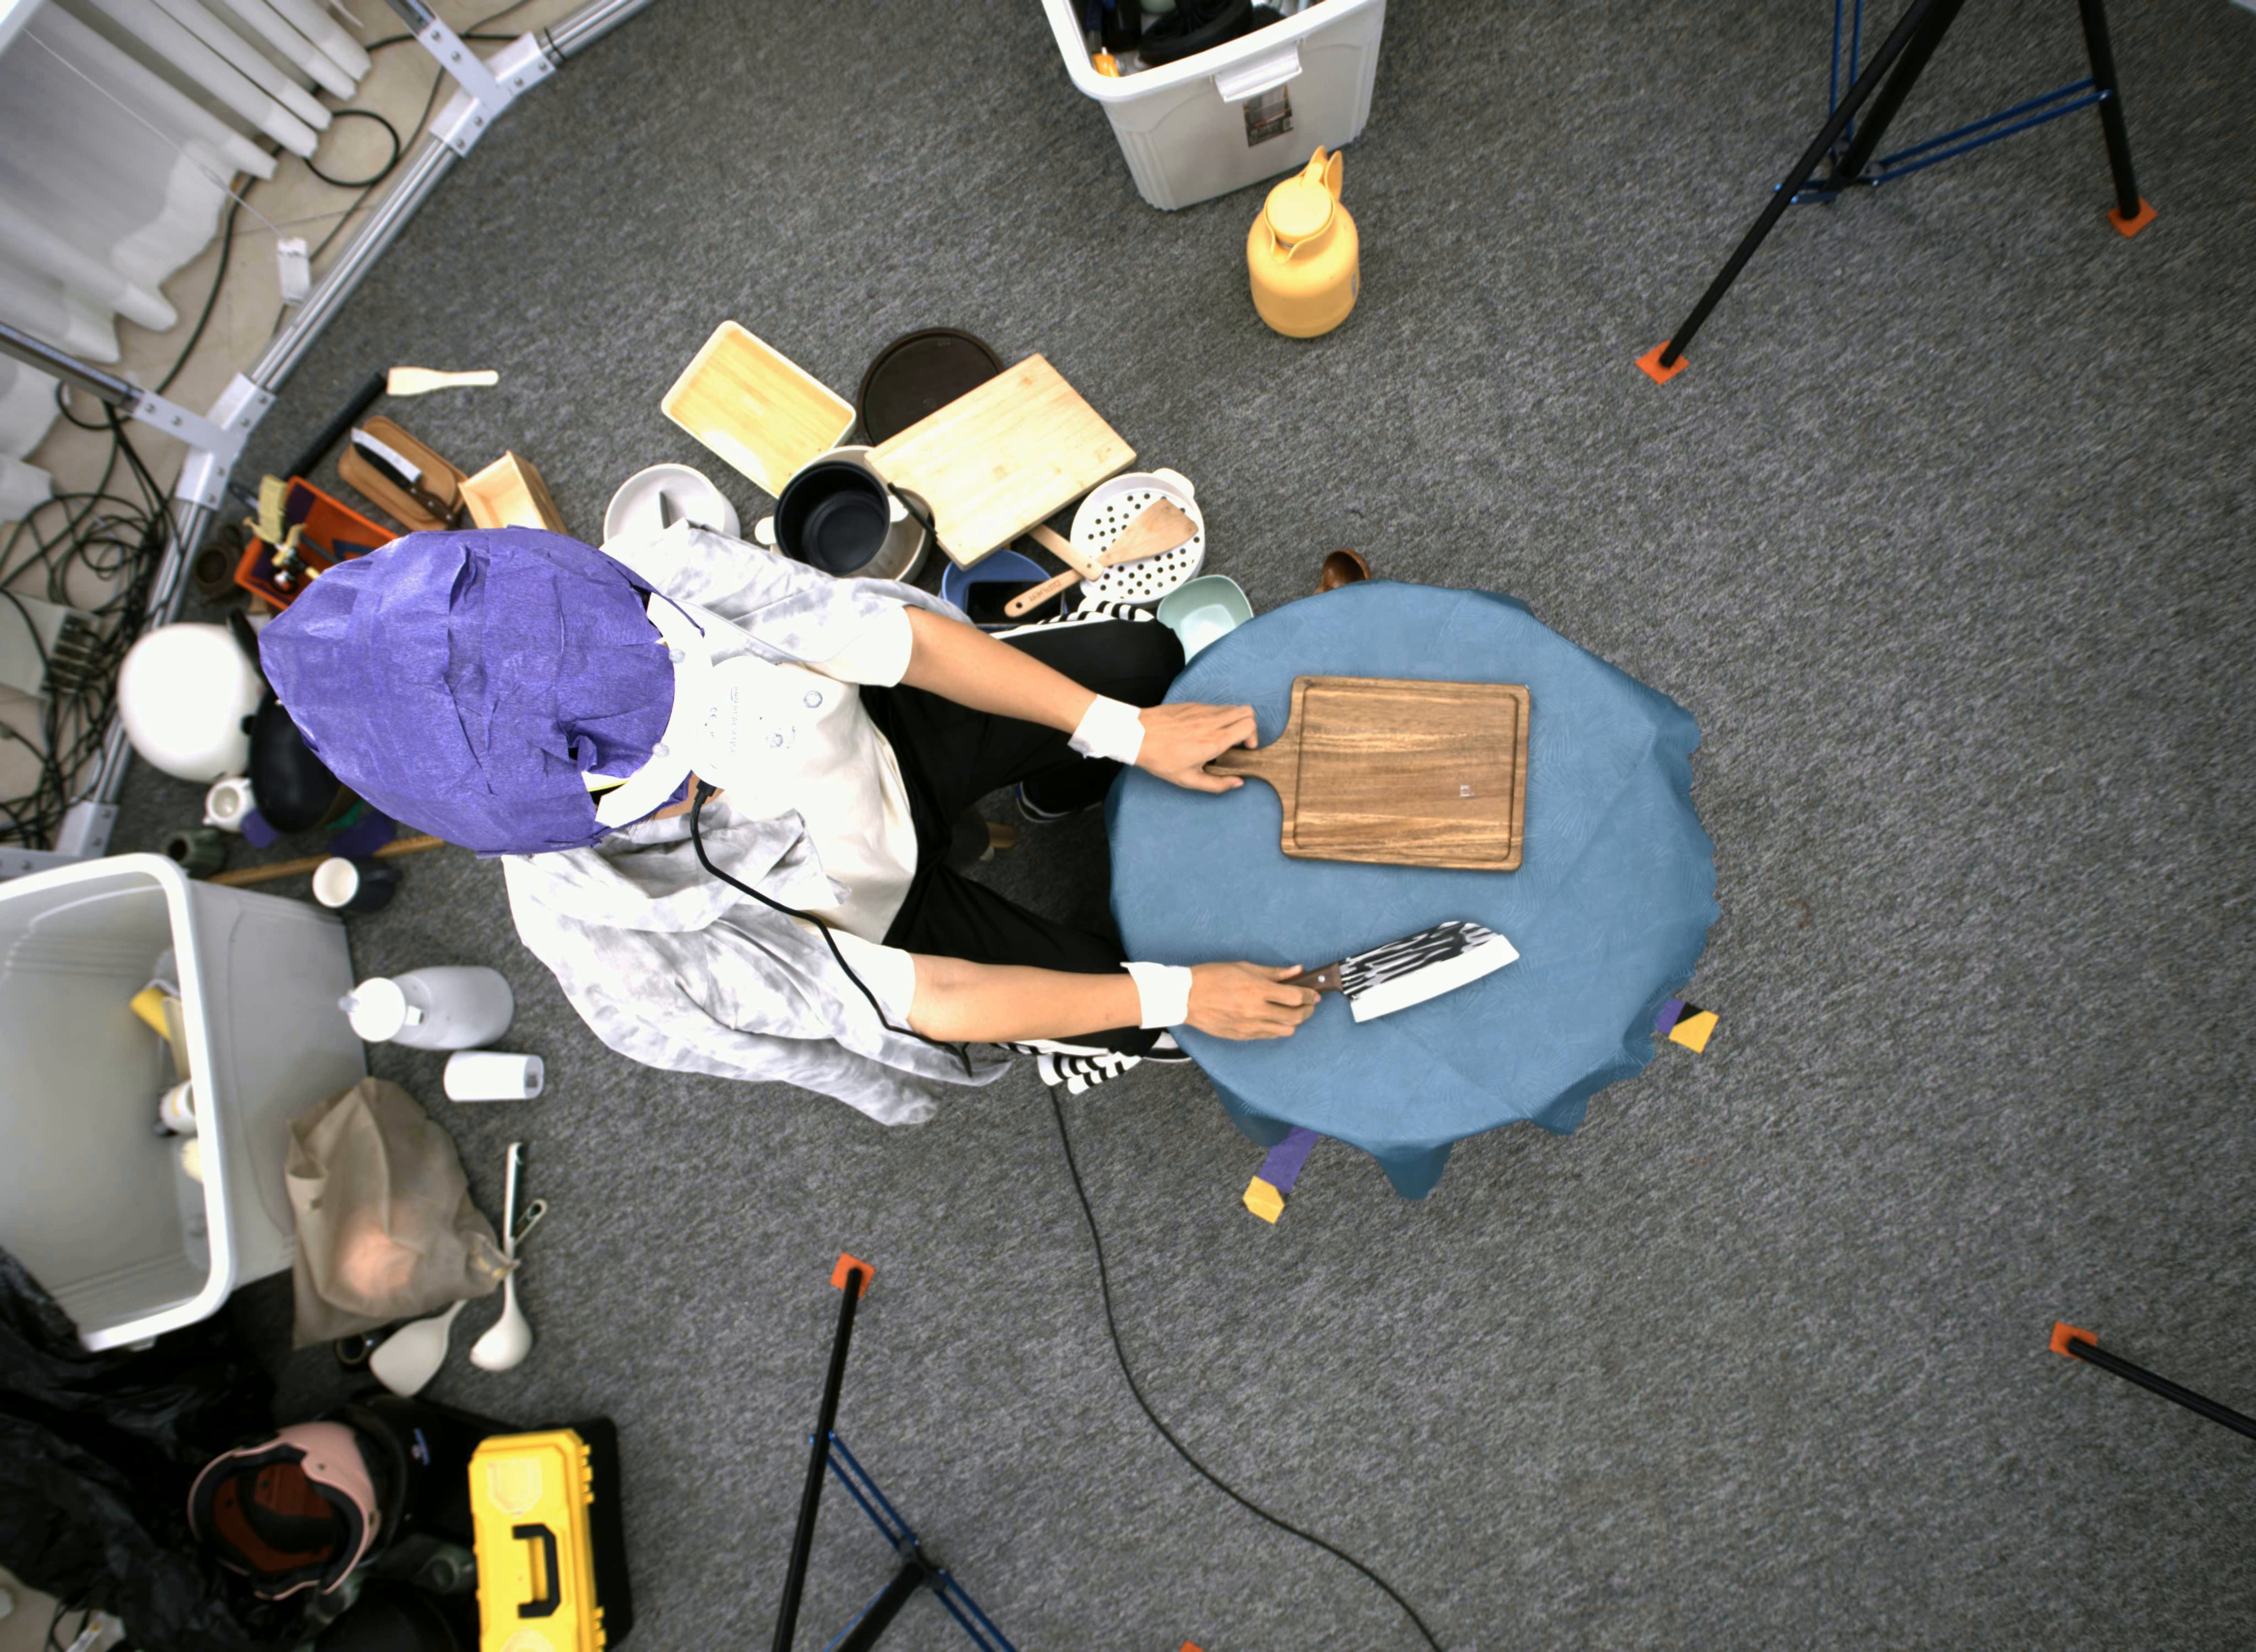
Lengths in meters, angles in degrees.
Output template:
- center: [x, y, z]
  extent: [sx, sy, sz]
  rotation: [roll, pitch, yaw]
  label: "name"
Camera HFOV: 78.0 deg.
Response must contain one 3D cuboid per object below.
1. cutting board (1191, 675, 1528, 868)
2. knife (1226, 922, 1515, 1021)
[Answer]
- center: [0.242, -0.063, 1.460]
  extent: [0.353, 0.023, 0.200]
  rotation: [3, 87, 11]
  label: "cutting board"
- center: [0.250, 0.160, 1.433]
  extent: [0.301, 0.024, 0.067]
  rotation: [-19, 82, 8]
  label: "knife"
